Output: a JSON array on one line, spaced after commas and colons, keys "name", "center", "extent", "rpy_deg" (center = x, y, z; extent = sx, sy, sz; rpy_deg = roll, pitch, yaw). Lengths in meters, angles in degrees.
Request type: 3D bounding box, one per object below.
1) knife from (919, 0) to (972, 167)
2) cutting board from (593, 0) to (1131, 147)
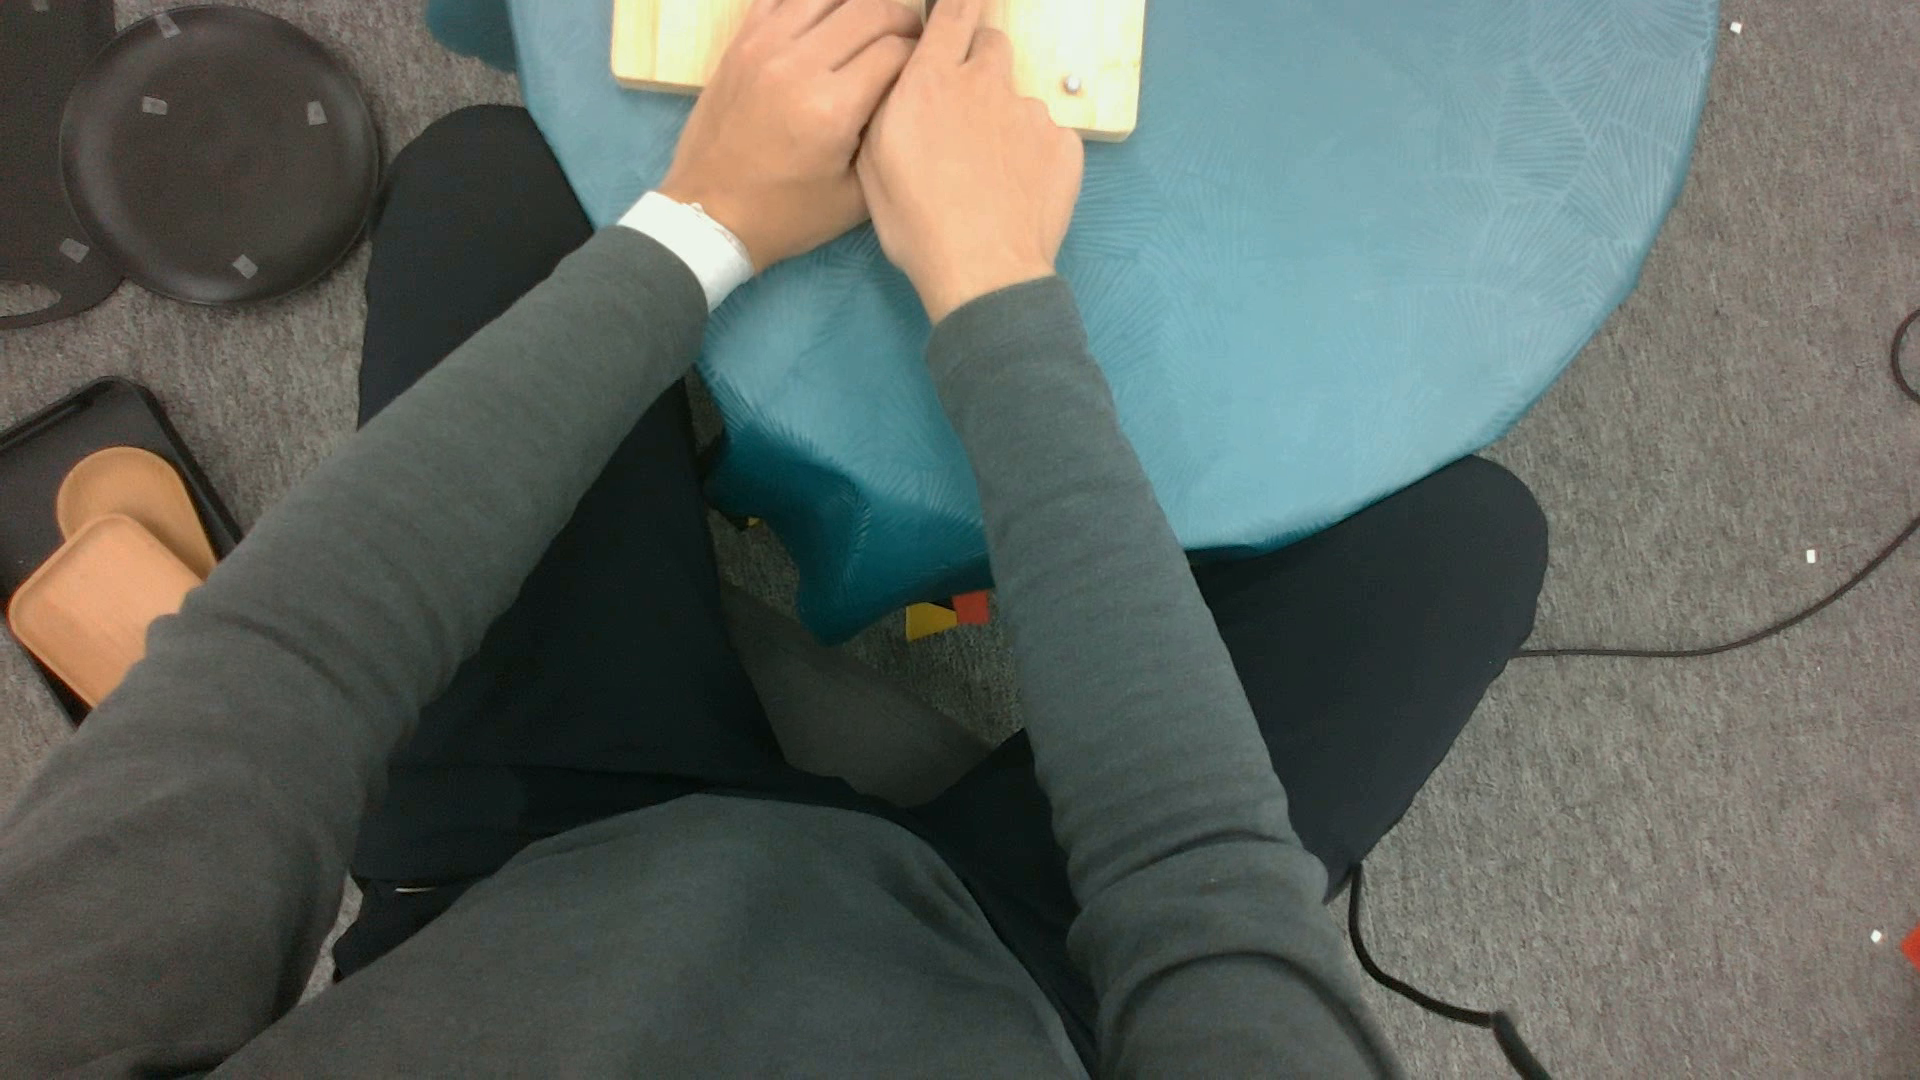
[{"name": "knife", "center": [-0.014, -0.286, 0.616], "extent": [0.016, 0.024, 0.238], "rpy_deg": [-5, 87, -15]}, {"name": "cutting board", "center": [-0.033, -0.367, 0.638], "extent": [0.251, 0.023, 0.348], "rpy_deg": [3, 90, -7]}]
